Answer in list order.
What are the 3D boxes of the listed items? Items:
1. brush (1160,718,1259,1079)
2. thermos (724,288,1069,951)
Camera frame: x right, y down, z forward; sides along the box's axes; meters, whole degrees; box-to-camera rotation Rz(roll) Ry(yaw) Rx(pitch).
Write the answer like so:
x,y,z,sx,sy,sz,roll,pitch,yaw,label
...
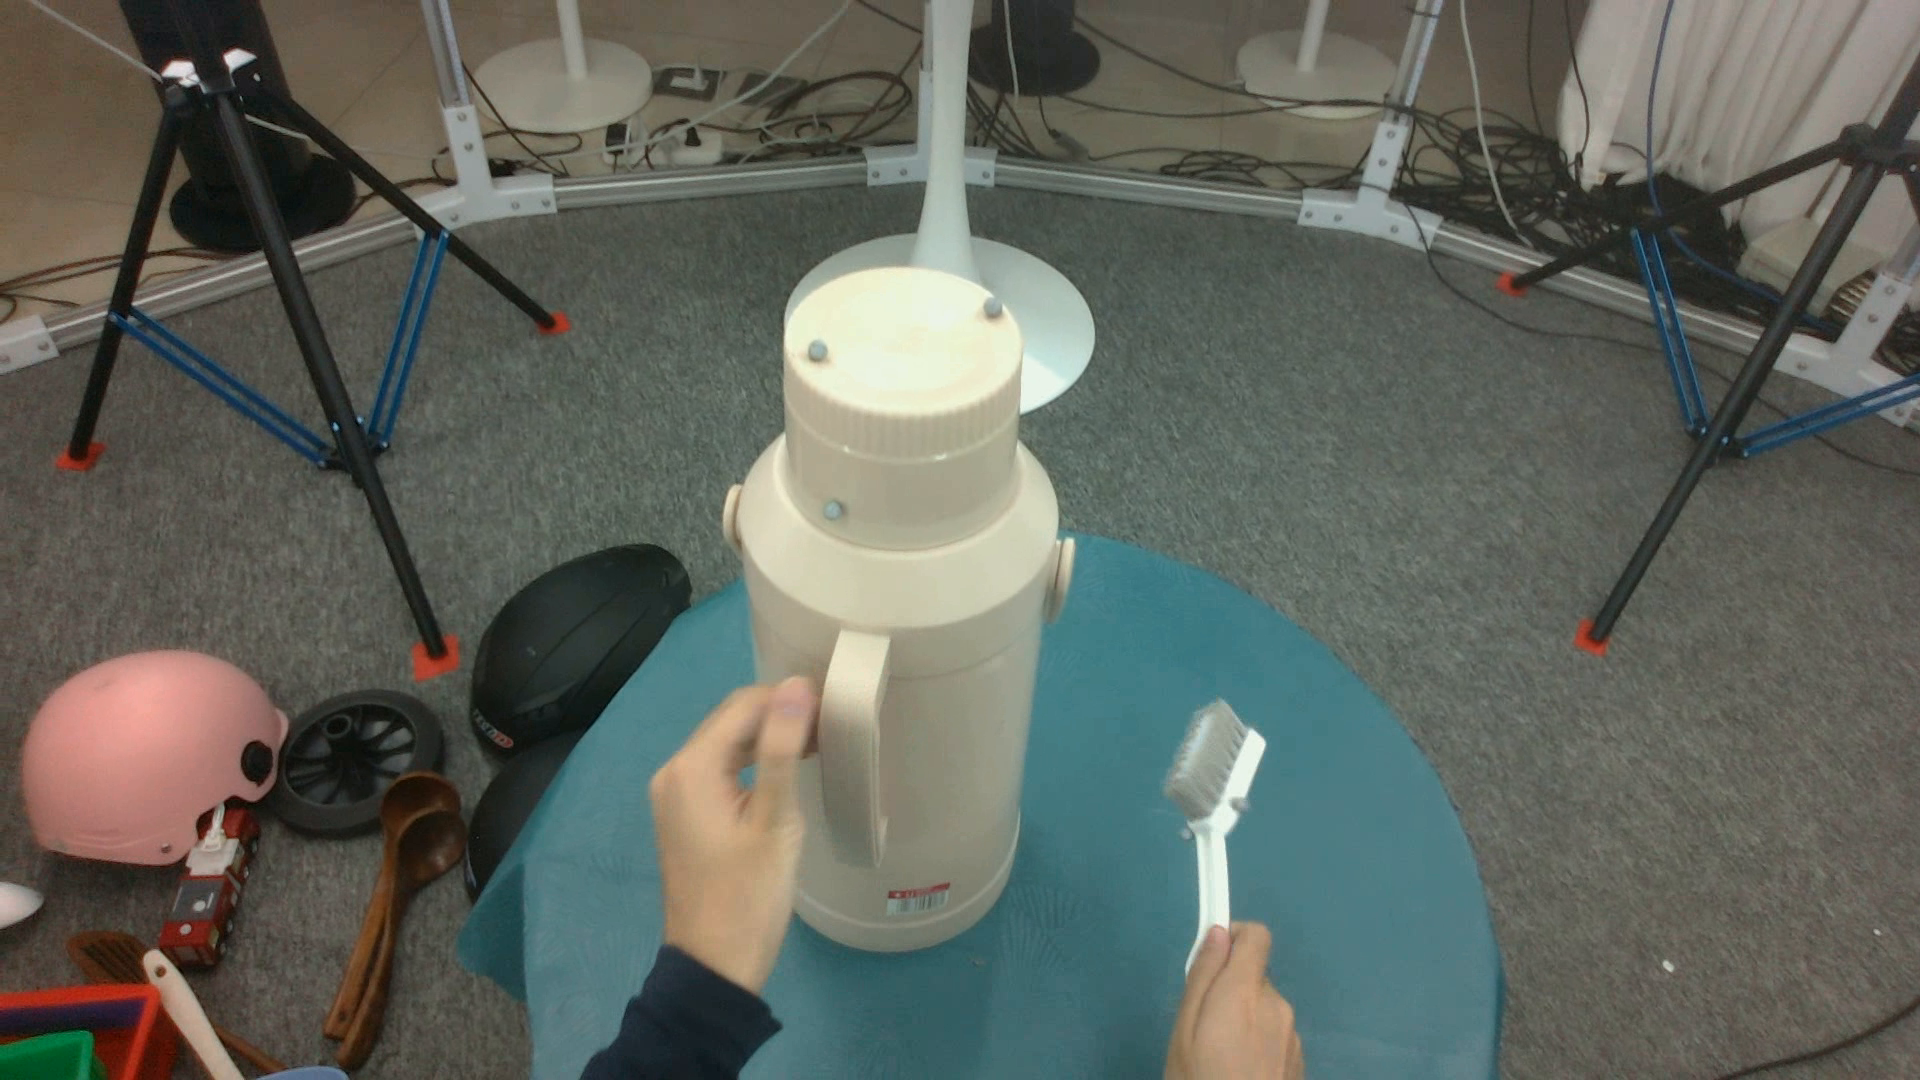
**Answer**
x,y,z,sx,sy,sz,roll,pitch,yaw,label
0.127,0.209,0.759,0.034,0.050,0.245,-9,49,35,brush
-0.041,0.068,0.744,0.175,0.404,0.208,9,45,3,thermos
